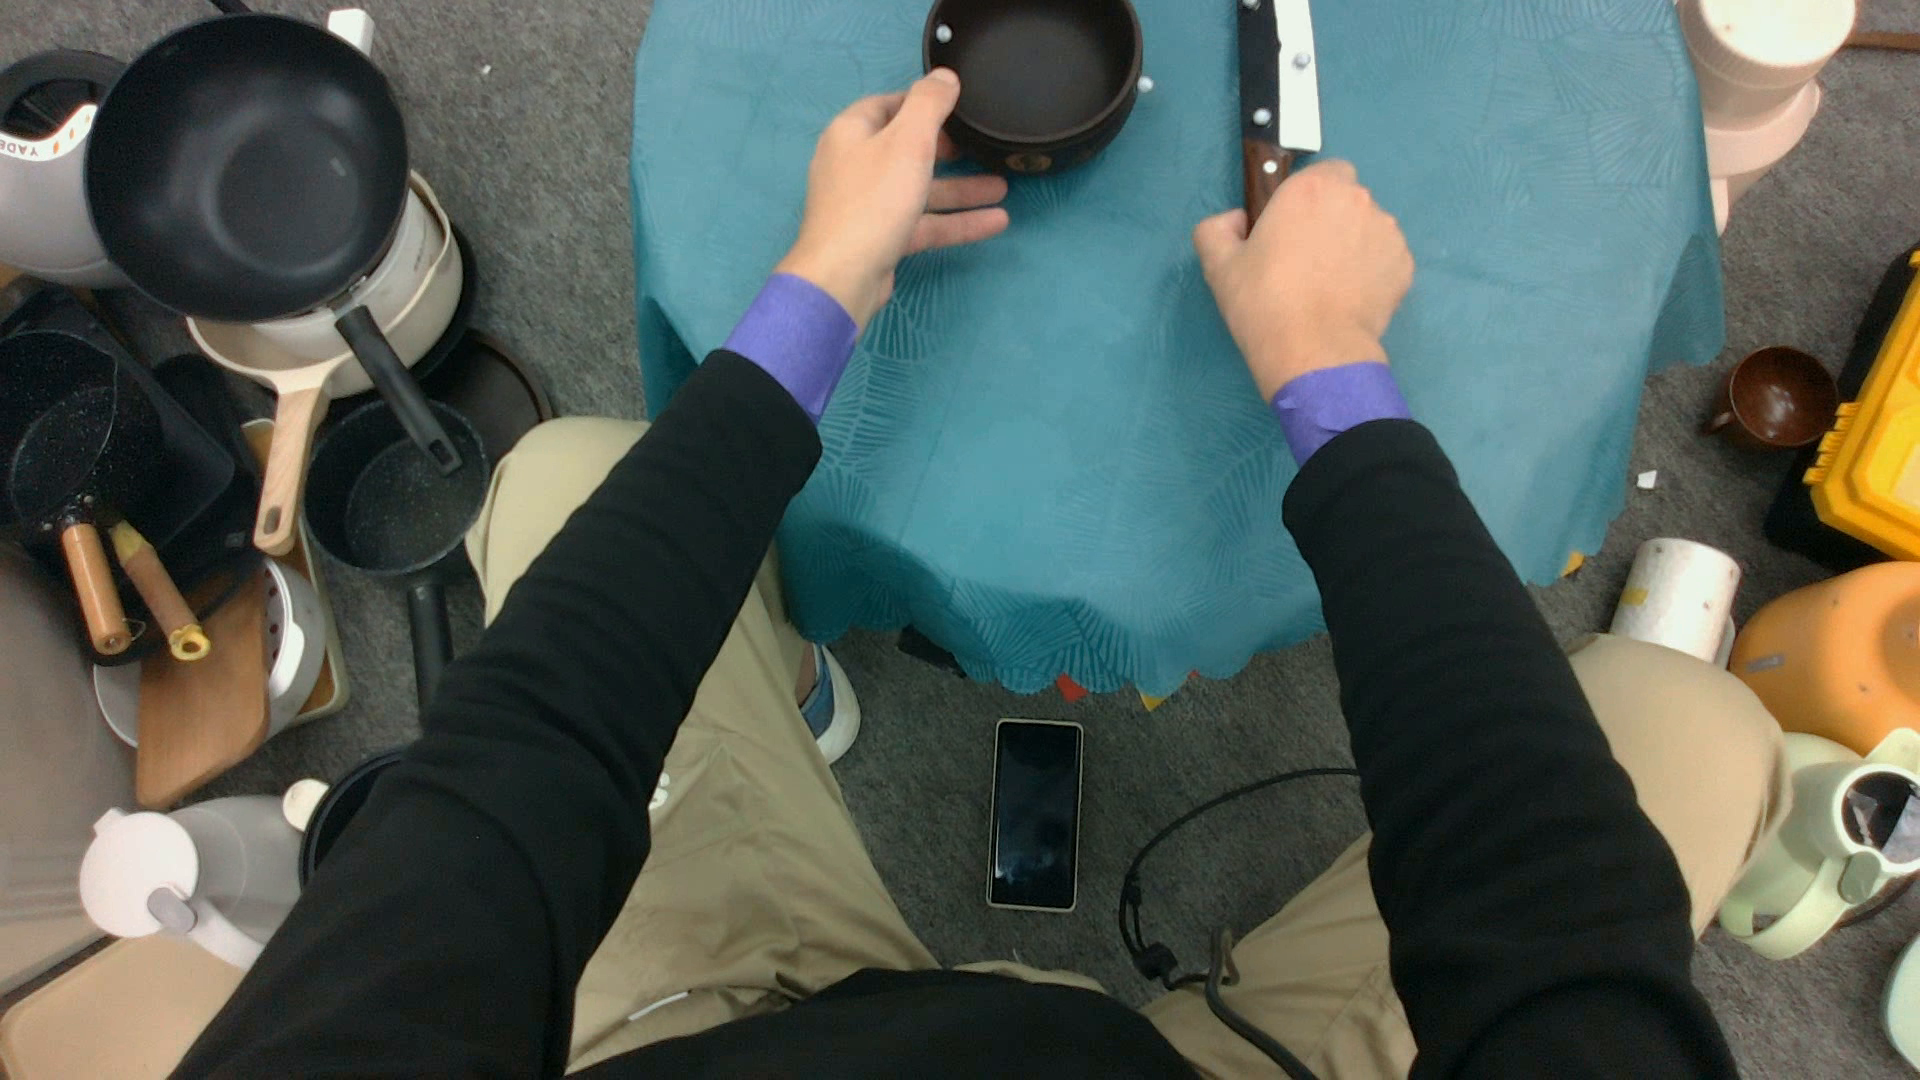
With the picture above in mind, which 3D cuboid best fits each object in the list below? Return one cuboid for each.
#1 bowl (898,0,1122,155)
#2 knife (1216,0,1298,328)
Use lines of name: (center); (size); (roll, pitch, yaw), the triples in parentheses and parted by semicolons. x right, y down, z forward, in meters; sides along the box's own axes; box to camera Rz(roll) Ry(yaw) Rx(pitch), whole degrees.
bowl: (0.027, -0.262, 0.747); (0.118, 0.070, 0.118); (0, 78, 2)
knife: (0.165, -0.249, 0.761); (0.050, 0.020, 0.290); (7, 72, -17)
